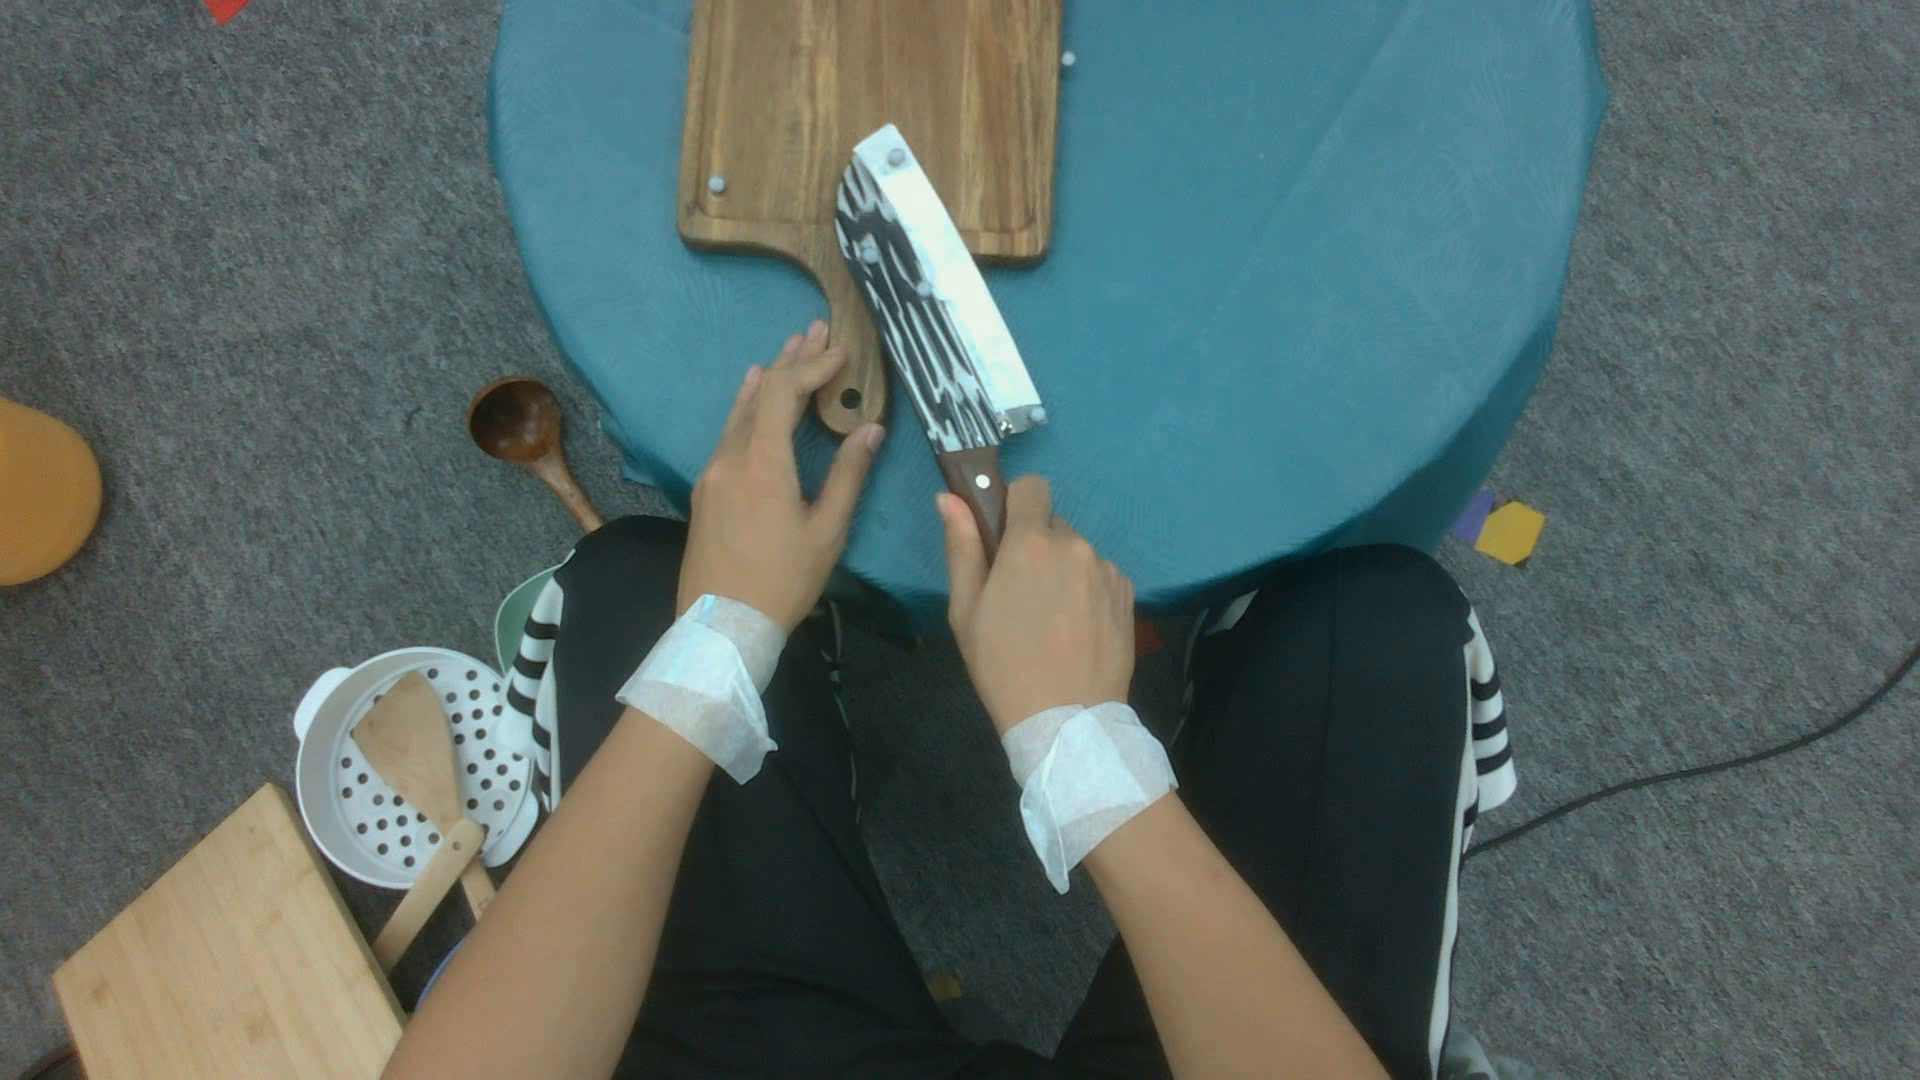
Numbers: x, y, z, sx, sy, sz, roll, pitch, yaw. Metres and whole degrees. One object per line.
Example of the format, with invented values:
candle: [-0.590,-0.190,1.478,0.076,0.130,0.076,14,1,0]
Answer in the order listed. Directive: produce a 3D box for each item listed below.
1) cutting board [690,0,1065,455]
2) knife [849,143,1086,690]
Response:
cutting board: [-0.045,-0.219,0.753,0.201,0.023,0.352,2,80,1]
knife: [0.011,-0.070,0.704,0.068,0.024,0.300,-19,80,-23]
